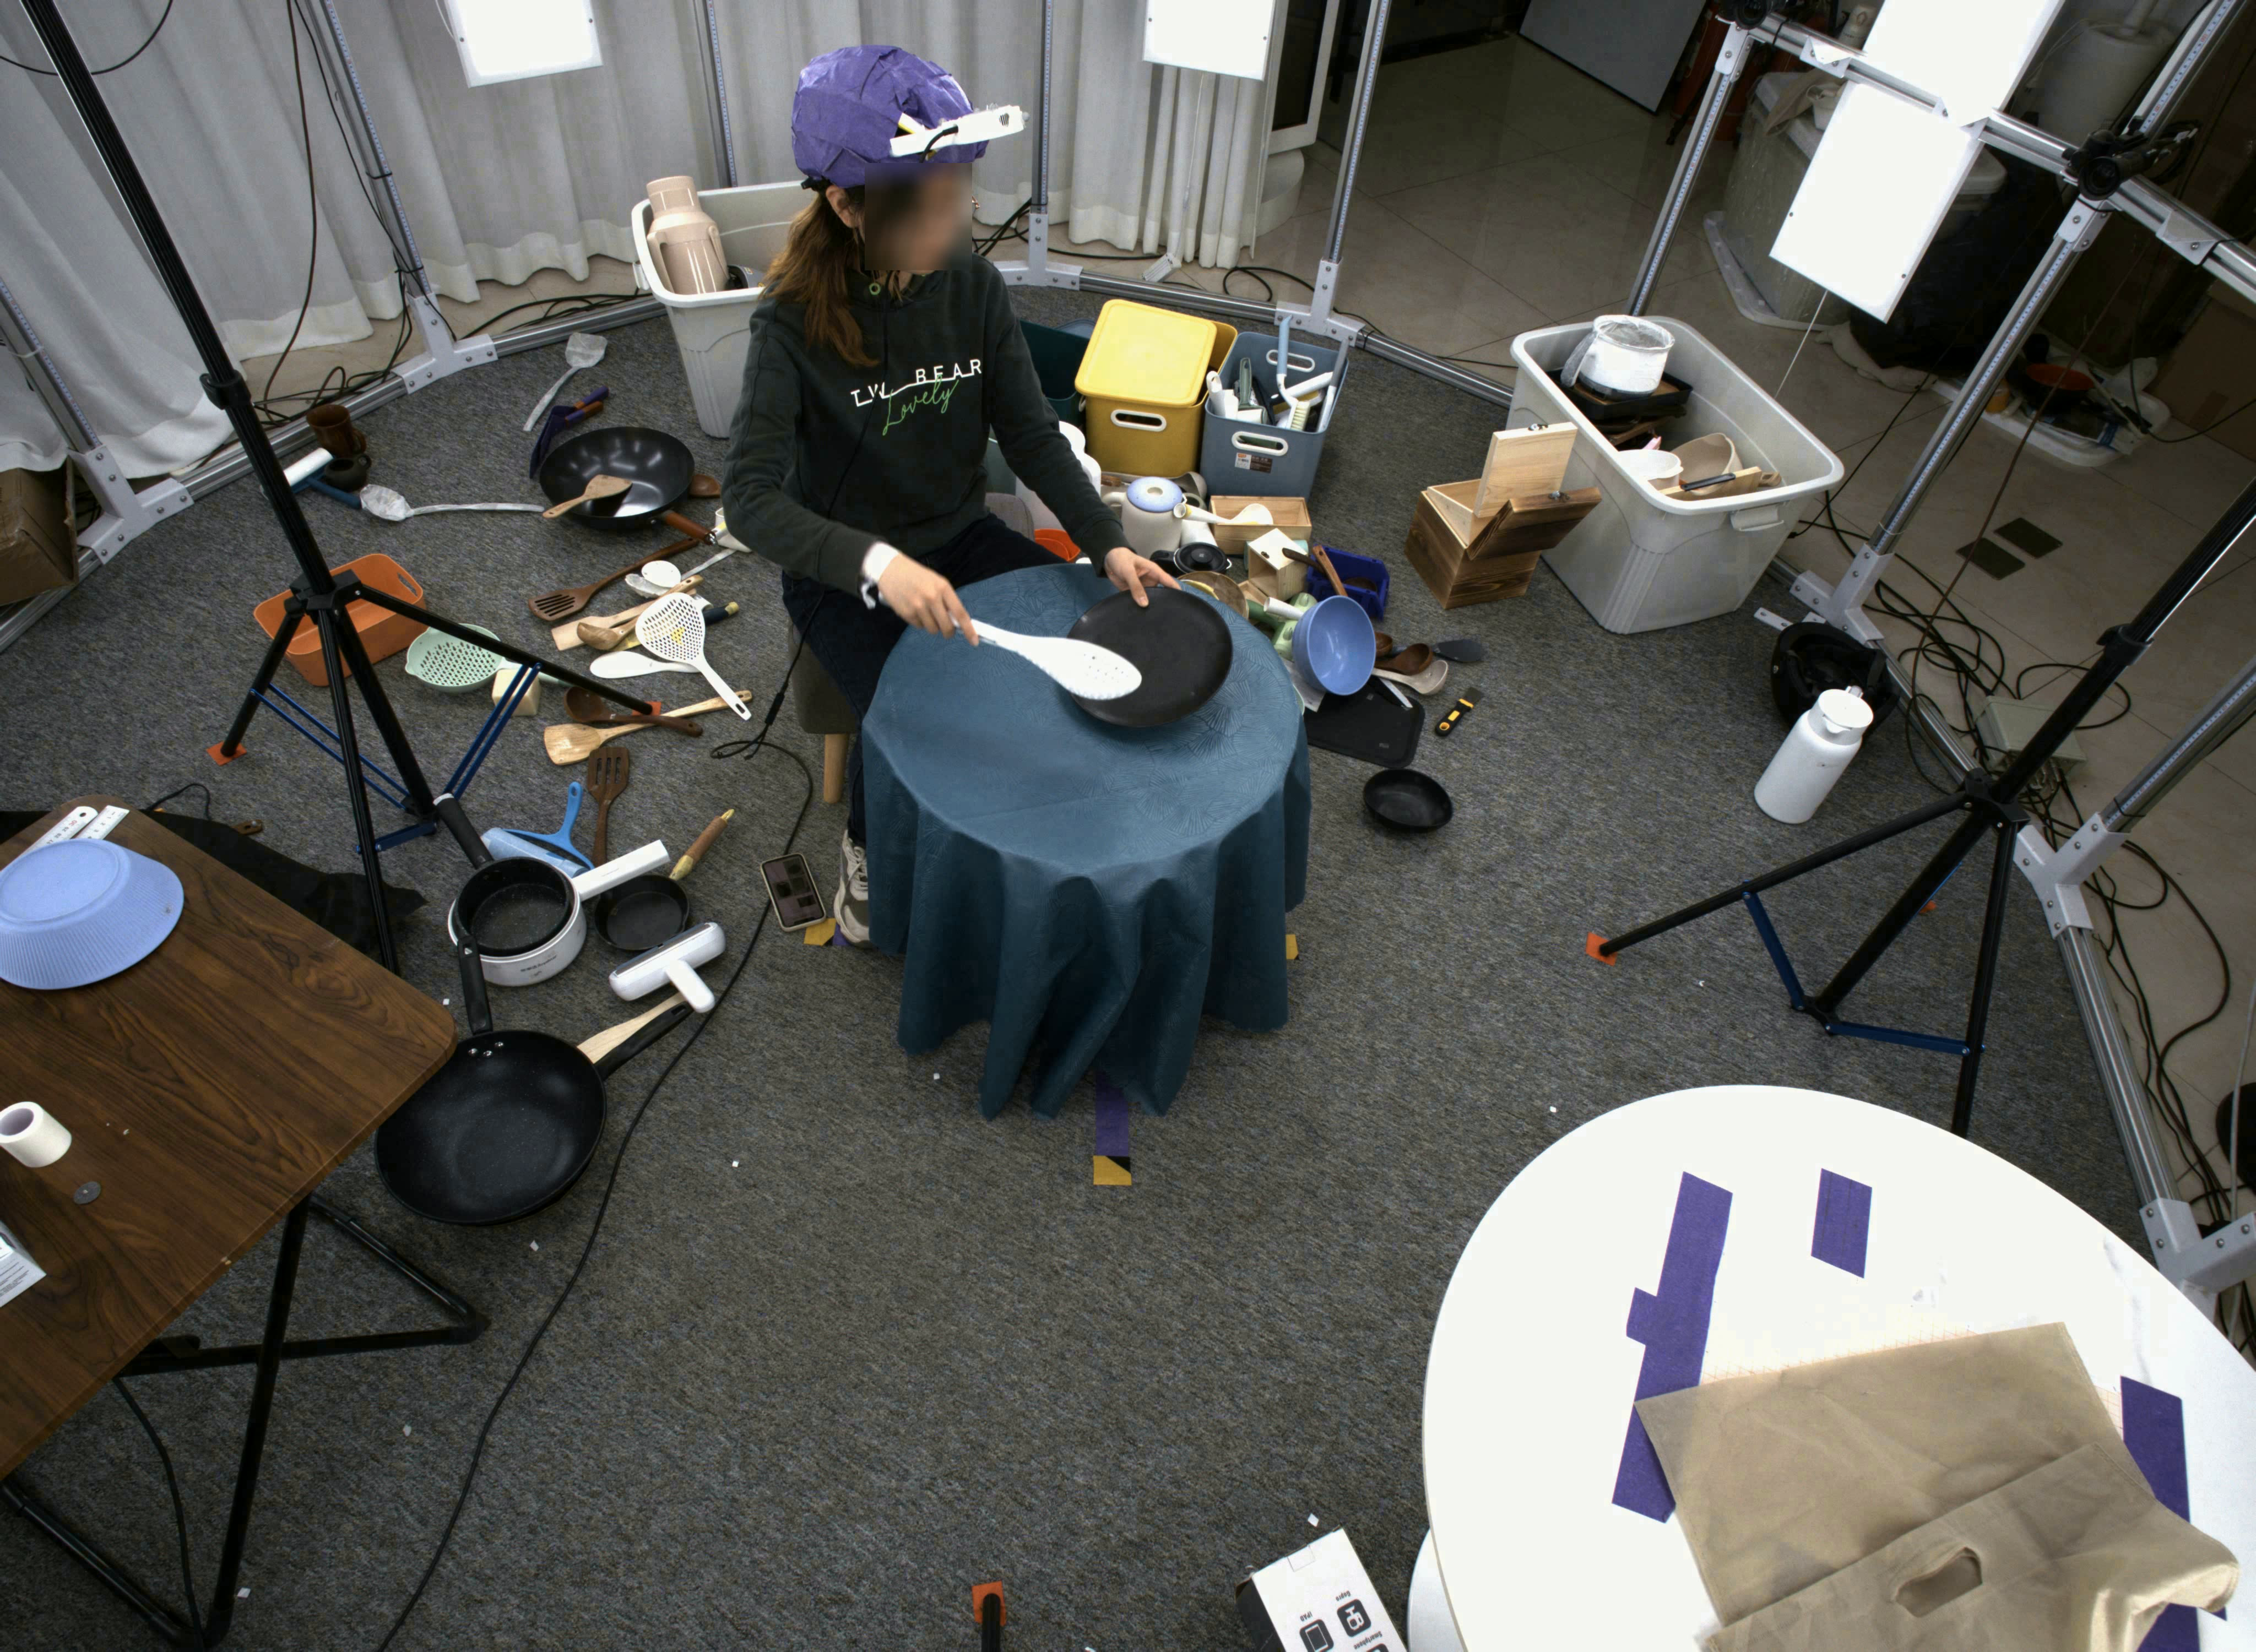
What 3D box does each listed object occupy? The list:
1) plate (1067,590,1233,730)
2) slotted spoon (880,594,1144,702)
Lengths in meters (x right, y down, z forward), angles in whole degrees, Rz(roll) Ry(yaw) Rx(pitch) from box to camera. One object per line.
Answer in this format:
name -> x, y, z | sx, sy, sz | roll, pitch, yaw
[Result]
plate -> 0.029, -0.235, 1.830 | 0.244, 0.023, 0.250 | -4, 58, 7
slotted spoon -> -0.149, -0.230, 1.641 | 0.350, 0.134, 0.046 | 24, 76, 2
